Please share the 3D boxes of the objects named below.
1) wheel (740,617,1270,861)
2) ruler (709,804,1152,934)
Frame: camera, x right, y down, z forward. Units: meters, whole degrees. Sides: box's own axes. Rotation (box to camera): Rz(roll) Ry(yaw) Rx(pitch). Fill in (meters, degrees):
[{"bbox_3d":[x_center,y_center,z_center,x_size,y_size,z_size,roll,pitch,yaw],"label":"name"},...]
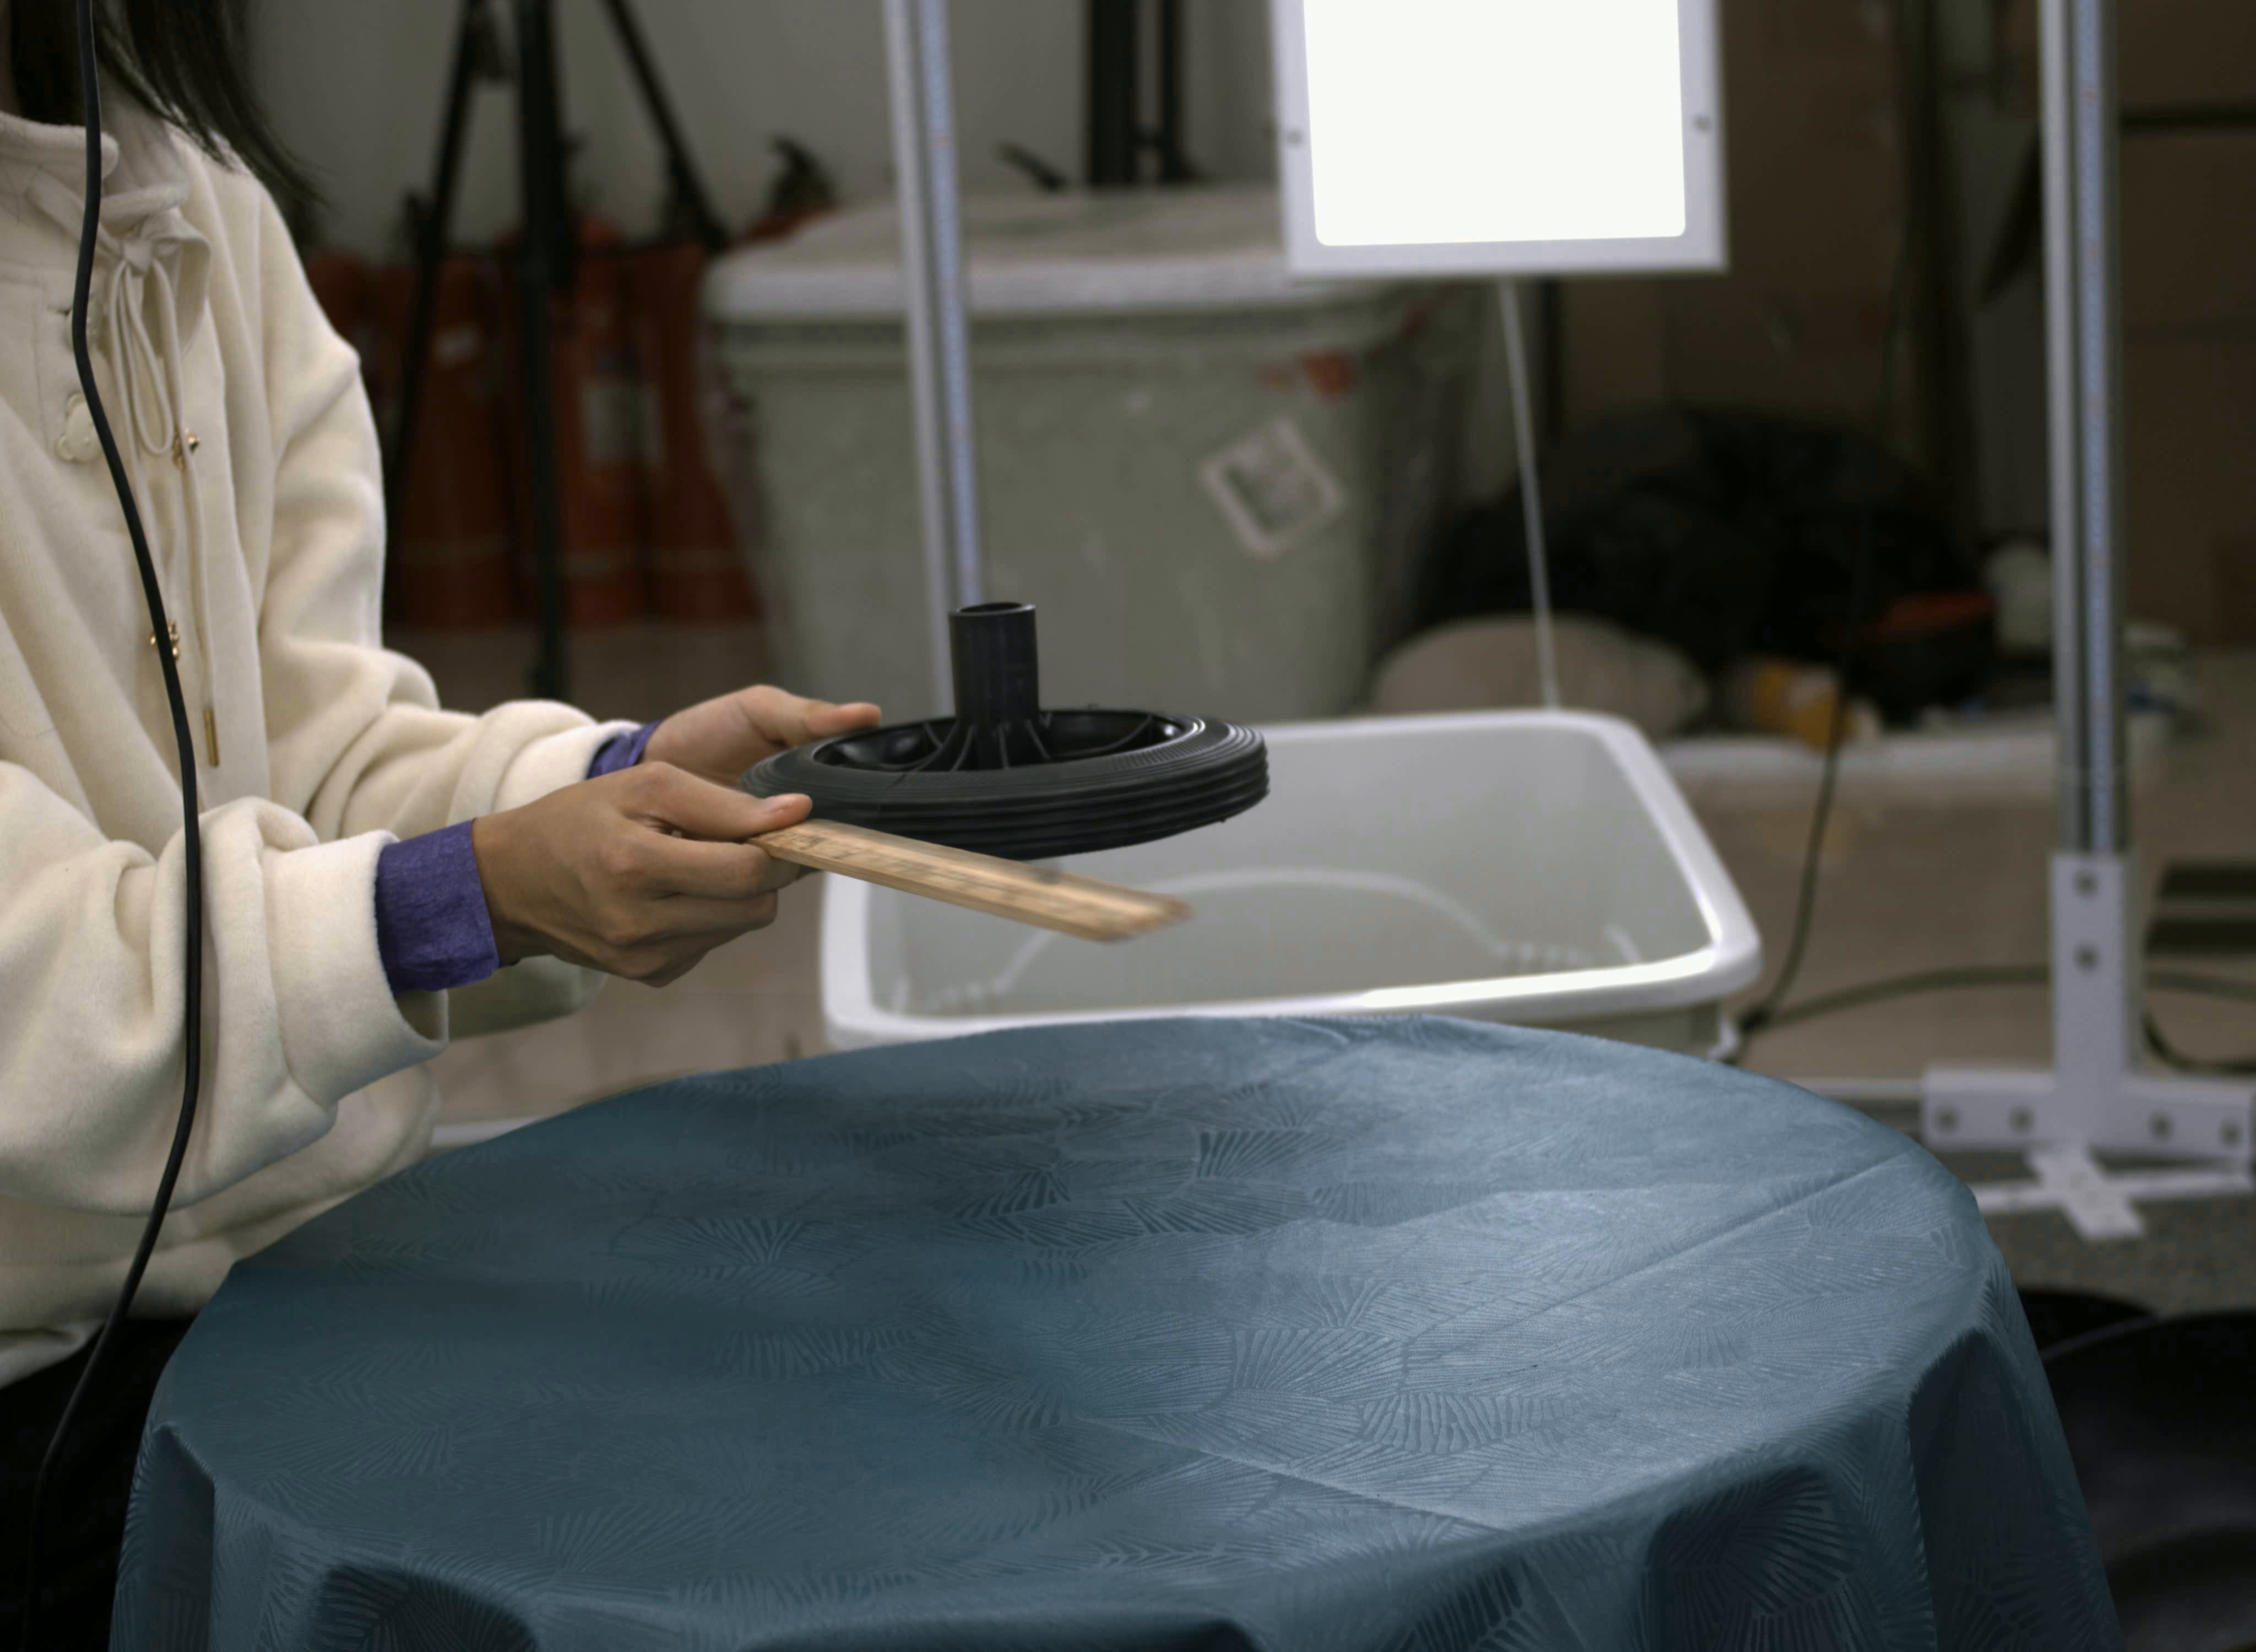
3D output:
[{"bbox_3d":[-0.045,-0.033,1.950,0.183,0.079,0.193,-9,10,-26],"label":"wheel"},{"bbox_3d":[-0.070,0.010,1.669,0.026,0.006,0.505,-20,8,-13],"label":"ruler"}]
